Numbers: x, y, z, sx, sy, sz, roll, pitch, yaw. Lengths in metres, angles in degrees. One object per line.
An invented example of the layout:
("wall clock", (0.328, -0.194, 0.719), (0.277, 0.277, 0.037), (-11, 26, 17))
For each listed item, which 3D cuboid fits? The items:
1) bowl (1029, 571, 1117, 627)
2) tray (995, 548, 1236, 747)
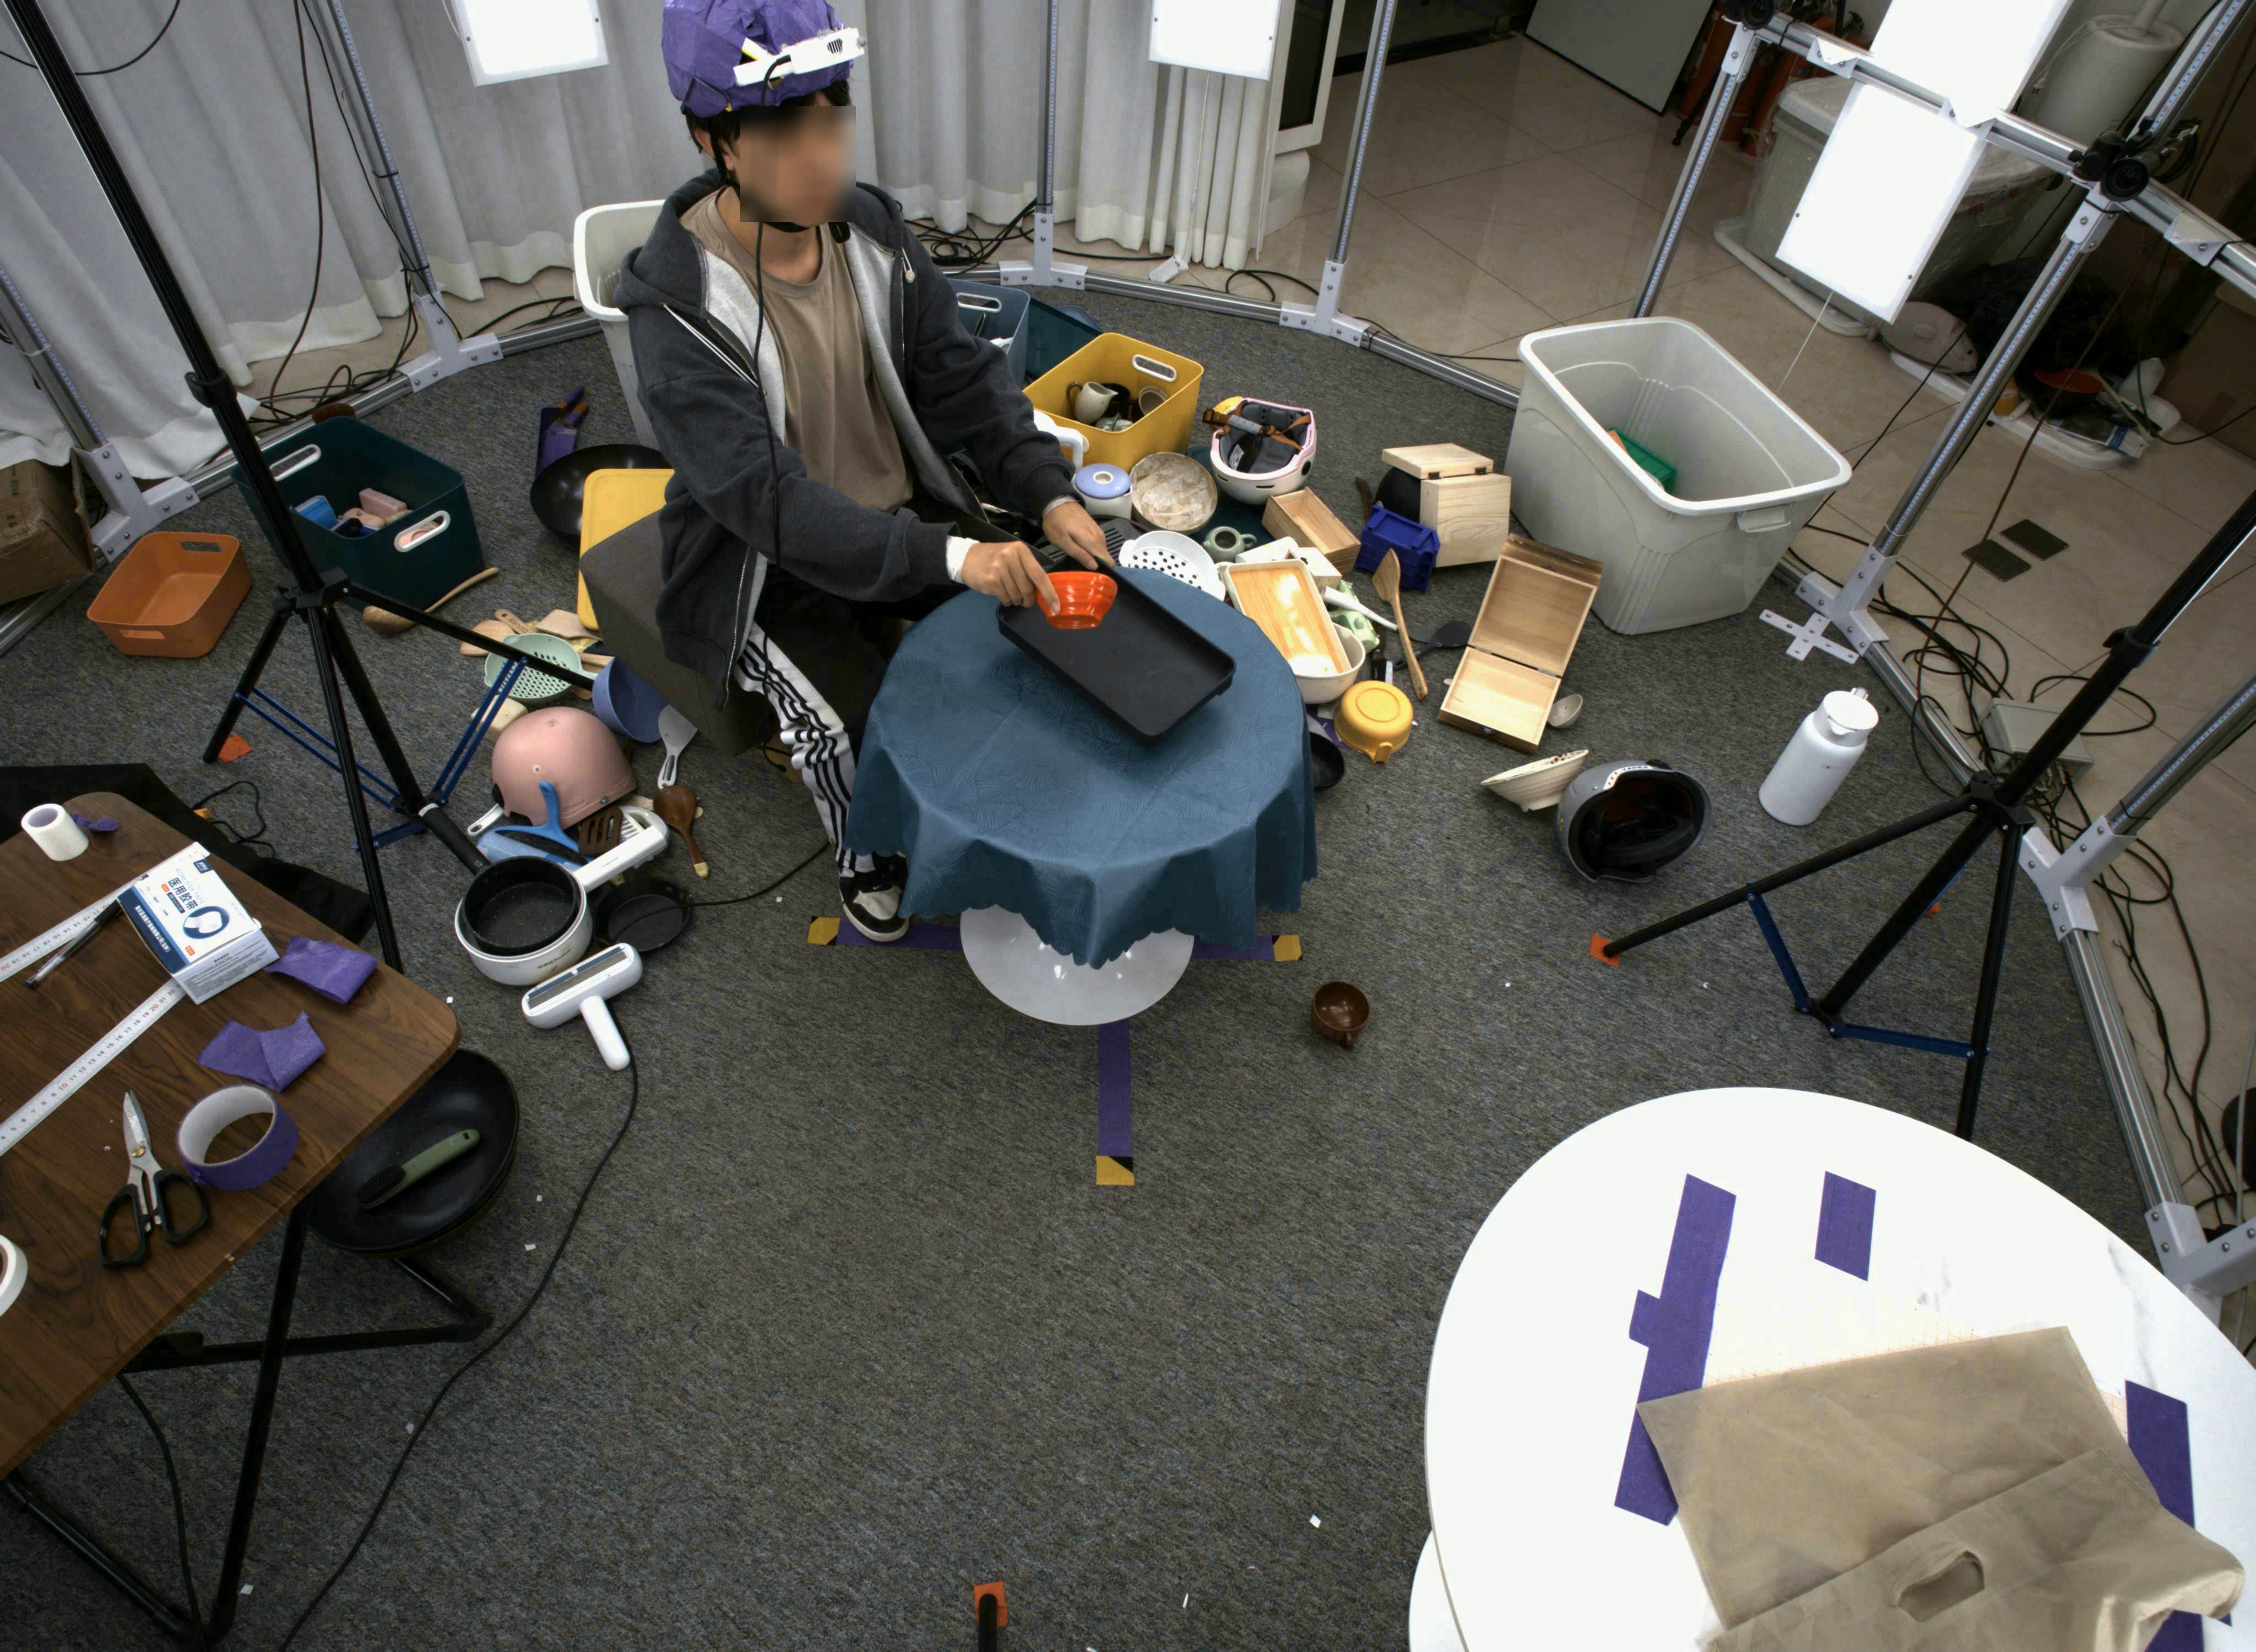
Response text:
("bowl", (-0.070, -0.286, 1.639), (0.119, 0.118, 0.051), (2, 86, -3))
("tray", (-0.020, -0.255, 1.802), (0.322, 0.036, 0.186), (40, 64, 22))
